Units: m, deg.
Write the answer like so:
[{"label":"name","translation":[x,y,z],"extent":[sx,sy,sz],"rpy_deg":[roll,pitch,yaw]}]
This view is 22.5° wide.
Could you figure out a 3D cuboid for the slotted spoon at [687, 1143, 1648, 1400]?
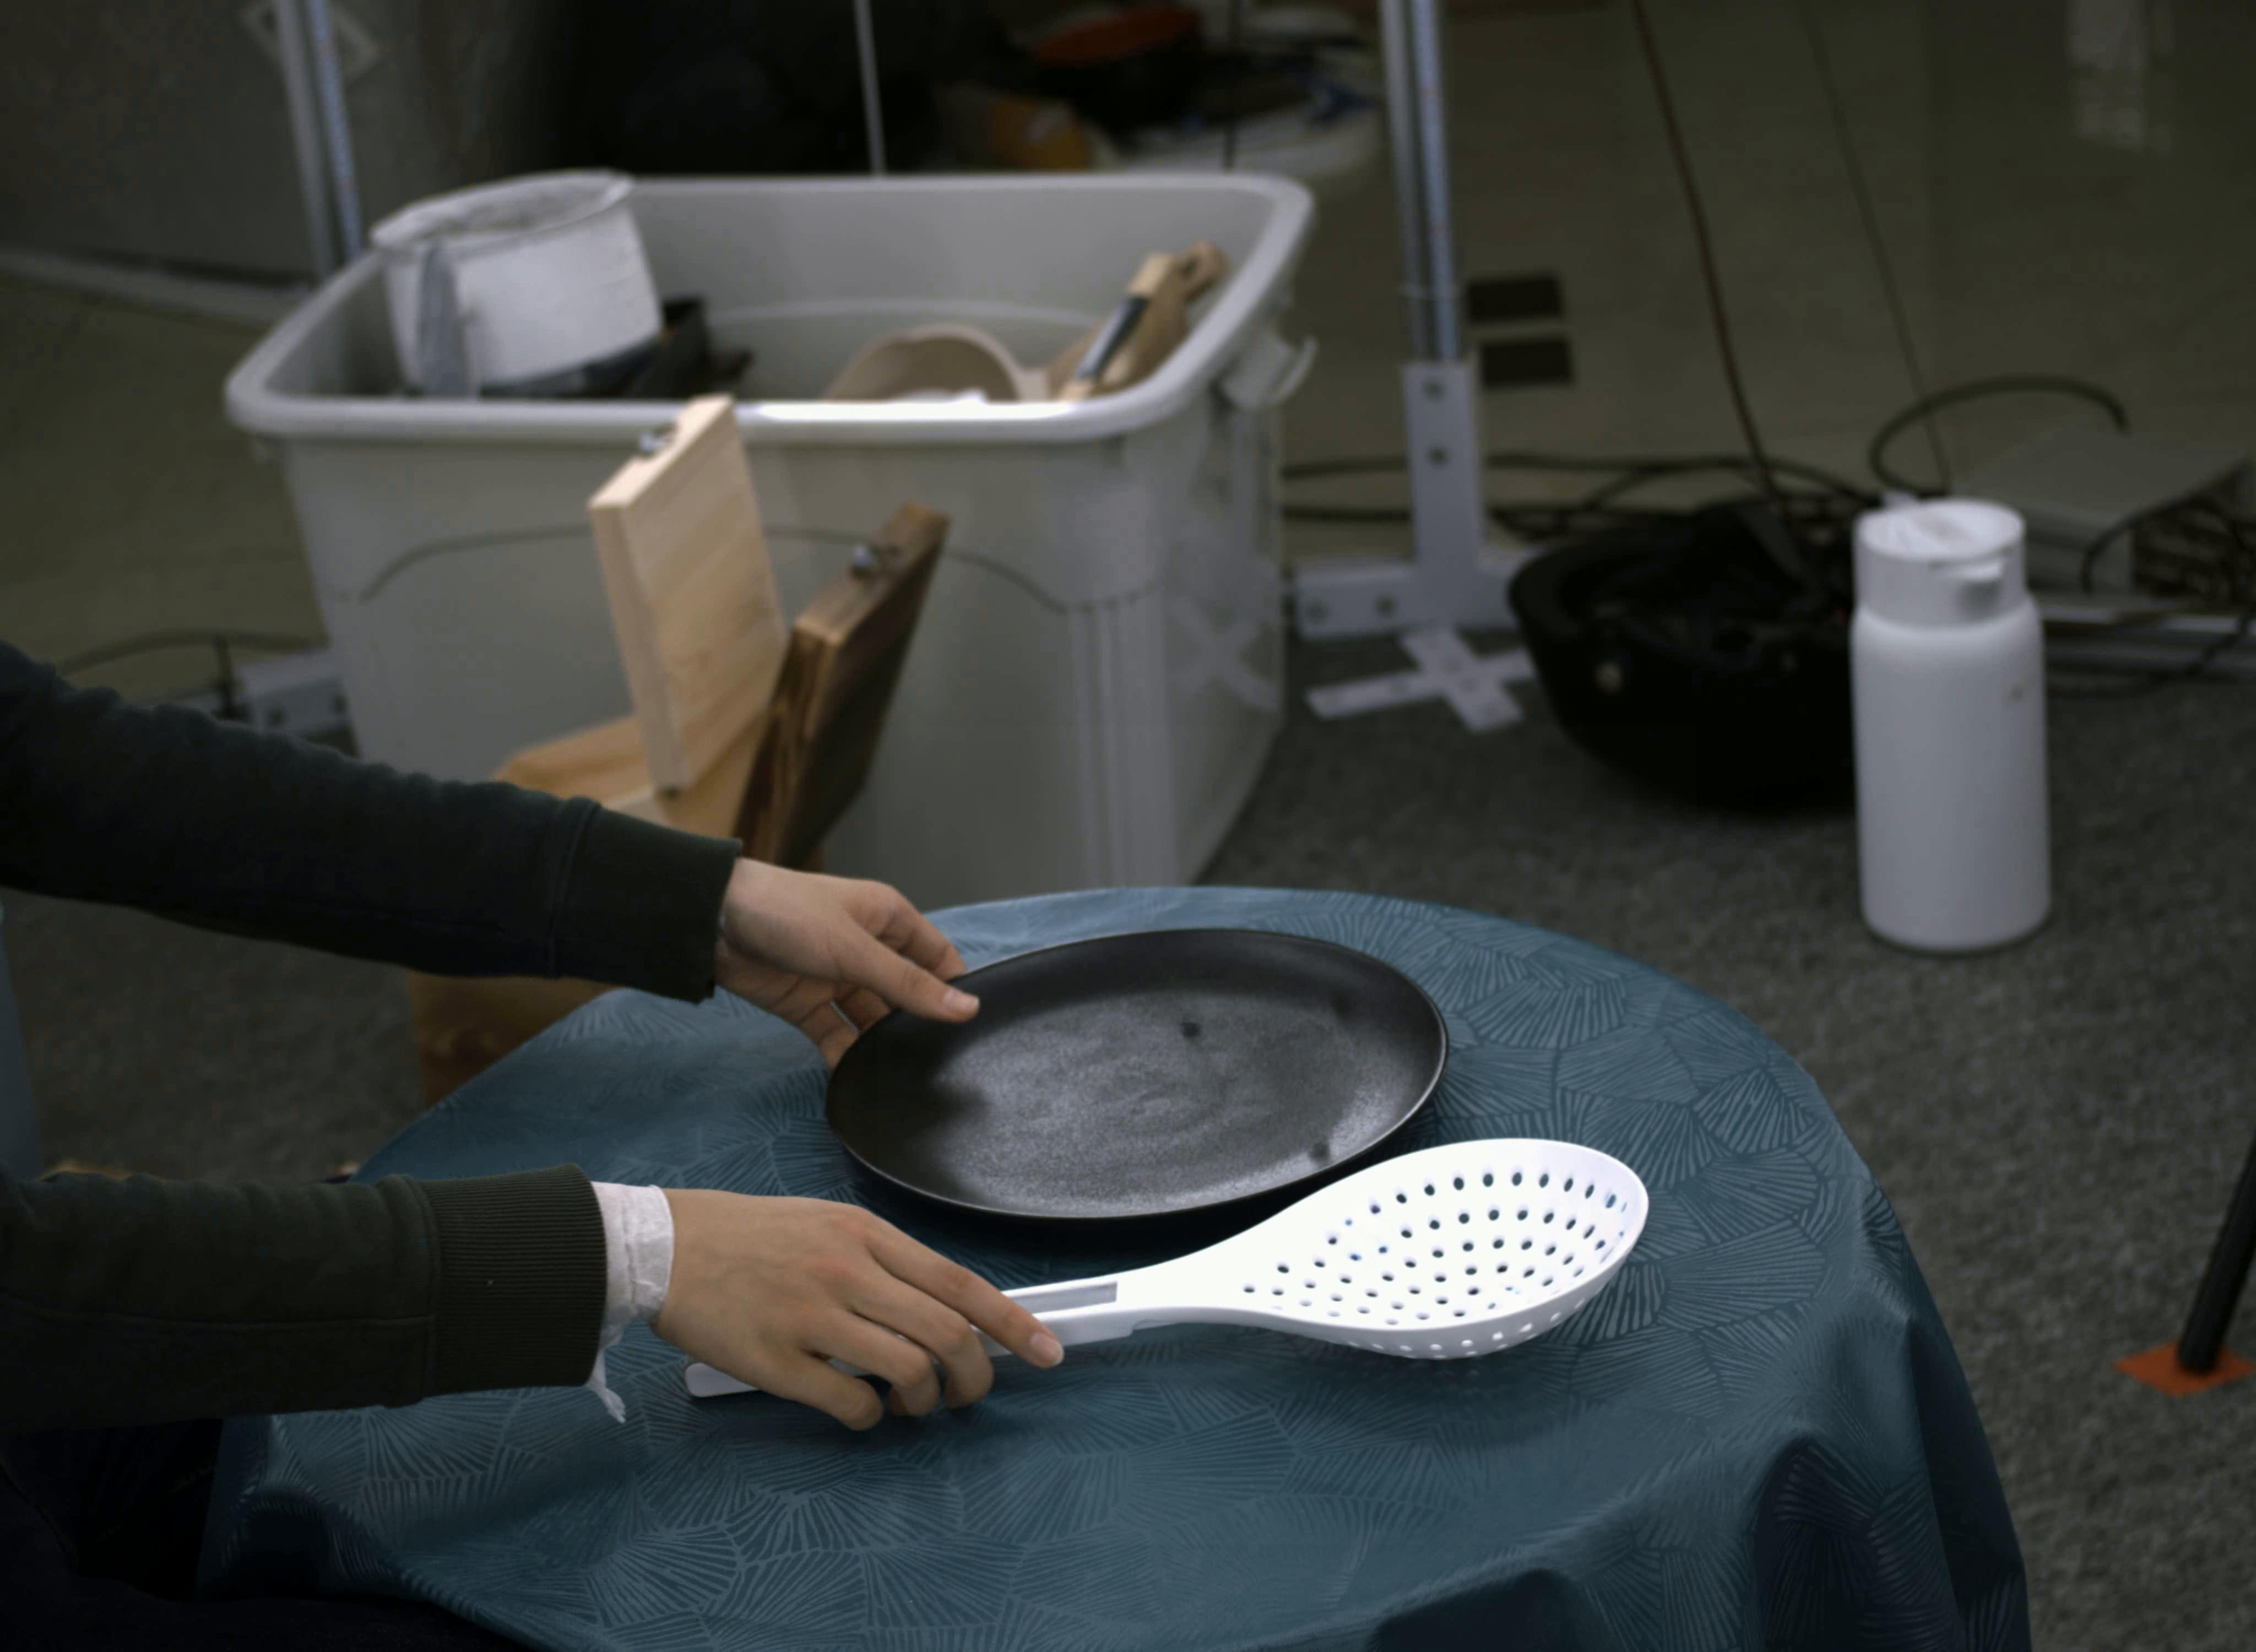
[{"label":"slotted spoon","translation":[0.013,0.169,2.031],"extent":[0.349,0.046,0.134],"rpy_deg":[-5,23,5]}]

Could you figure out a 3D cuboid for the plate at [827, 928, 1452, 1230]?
[{"label":"plate","translation":[0.005,0.103,2.201],"extent":[0.244,0.024,0.241],"rpy_deg":[-6,25,3]}]
